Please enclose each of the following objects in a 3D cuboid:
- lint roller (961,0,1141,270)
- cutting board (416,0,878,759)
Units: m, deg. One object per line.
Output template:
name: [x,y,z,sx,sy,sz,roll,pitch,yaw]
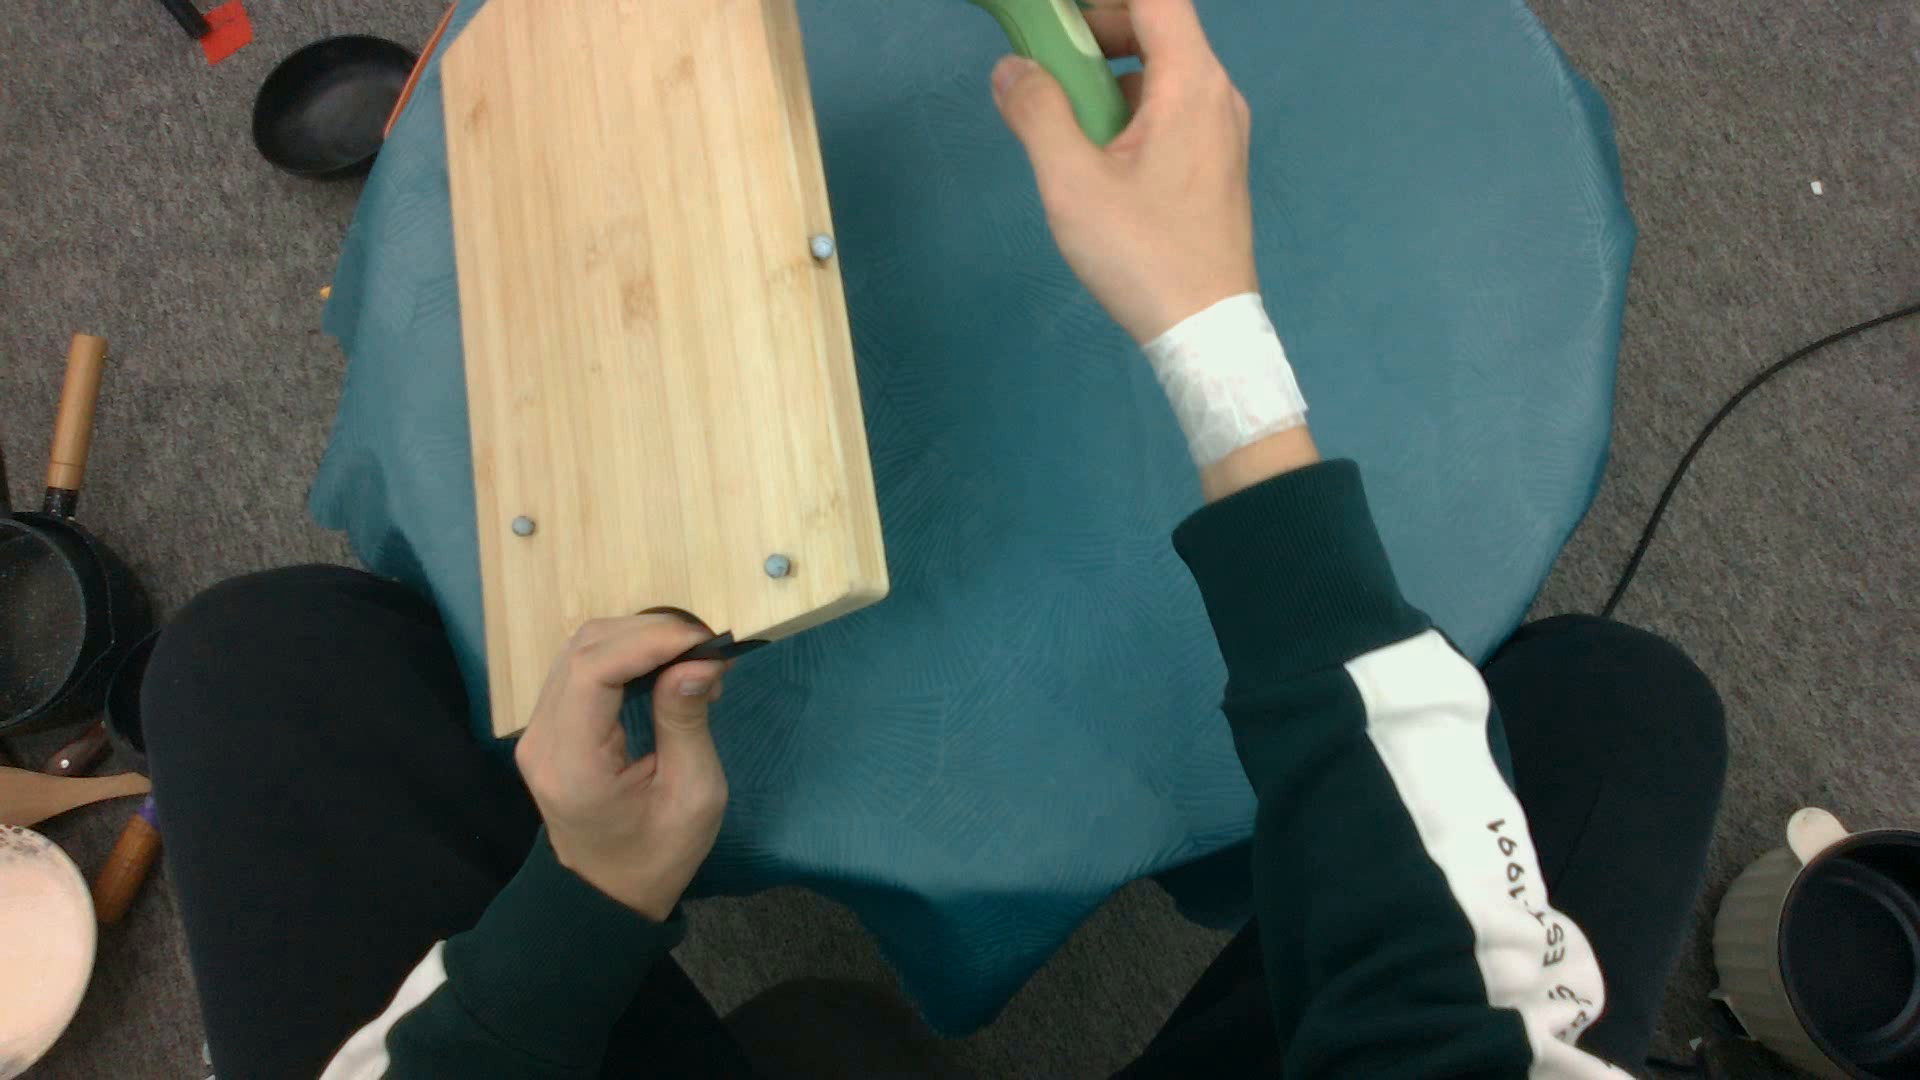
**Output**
lint roller: [0.033,-0.192,0.493,0.082,0.199,0.183,-36,81,37]
cutting board: [-0.147,-0.105,0.567,0.249,0.023,0.349,-25,70,40]
